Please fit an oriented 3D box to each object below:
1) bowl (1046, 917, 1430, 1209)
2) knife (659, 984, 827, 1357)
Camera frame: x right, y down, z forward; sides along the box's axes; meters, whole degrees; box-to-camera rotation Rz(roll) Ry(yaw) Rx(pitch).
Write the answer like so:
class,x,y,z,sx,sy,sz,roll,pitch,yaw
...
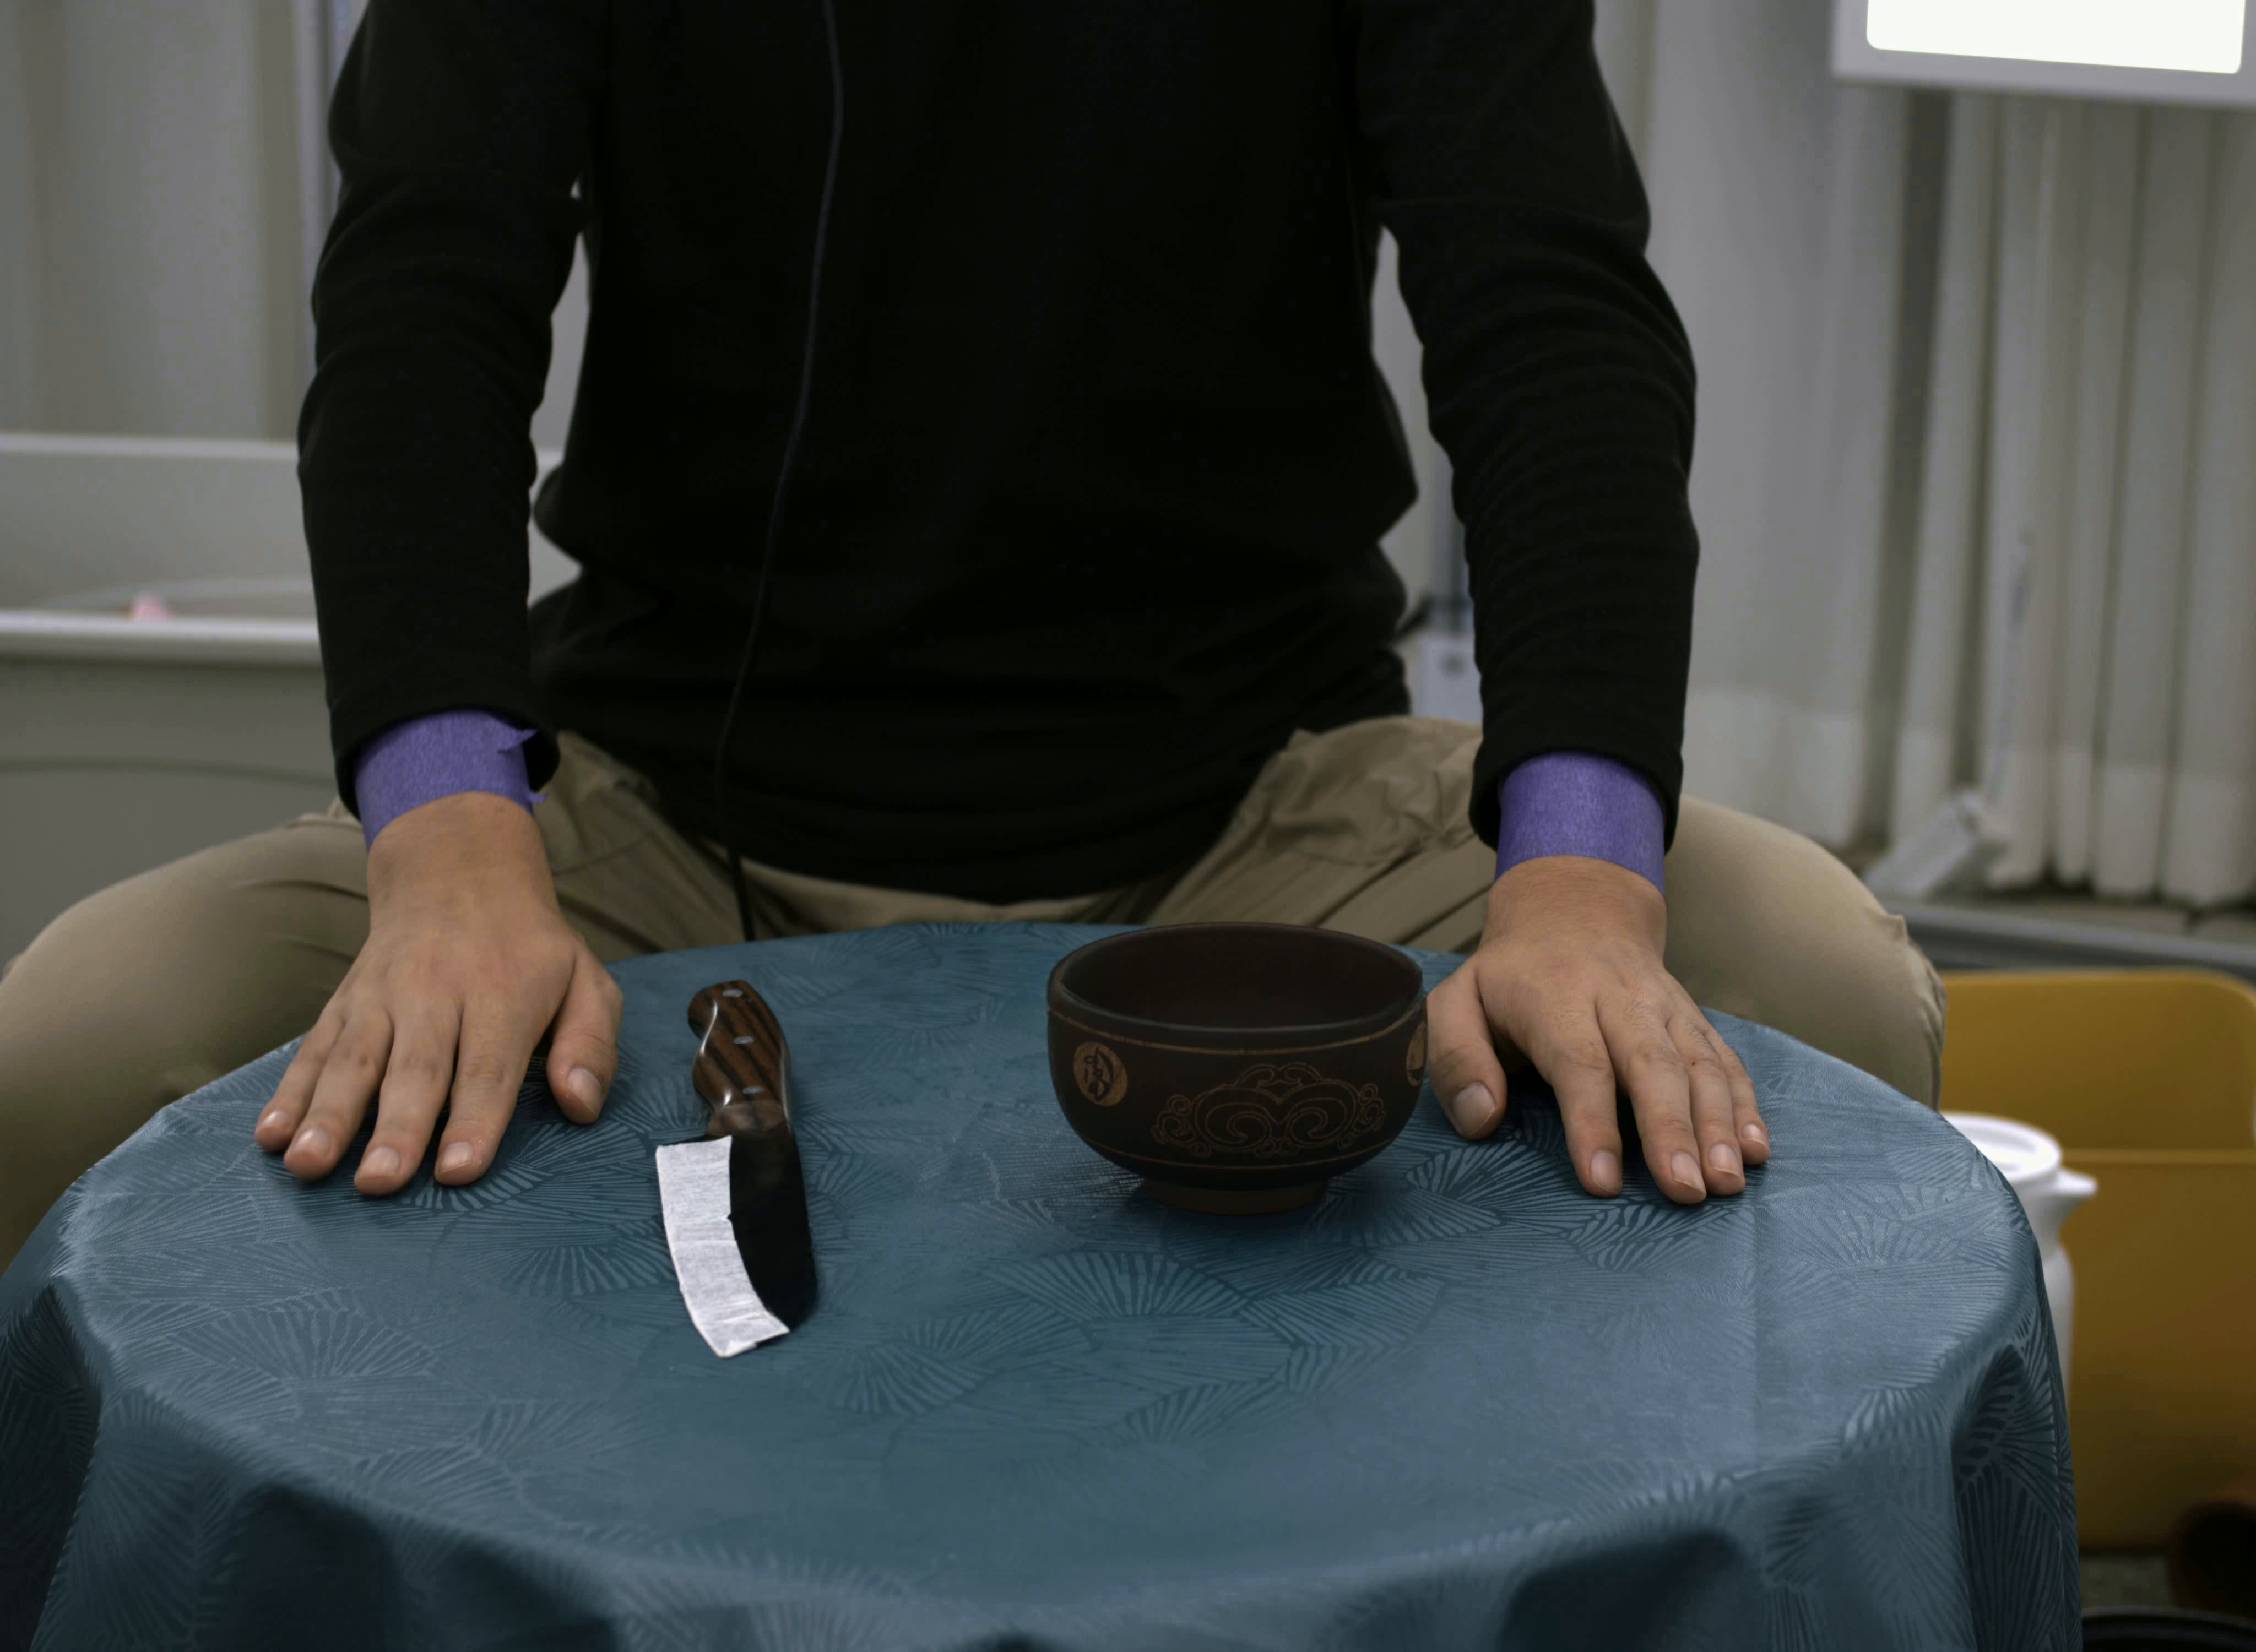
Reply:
class,x,y,z,sx,sy,sz,roll,pitch,yaw
bowl,0.034,0.076,1.618,0.117,0.070,0.117,1,15,0
knife,-0.119,0.105,1.618,0.050,0.020,0.287,-5,18,-3
